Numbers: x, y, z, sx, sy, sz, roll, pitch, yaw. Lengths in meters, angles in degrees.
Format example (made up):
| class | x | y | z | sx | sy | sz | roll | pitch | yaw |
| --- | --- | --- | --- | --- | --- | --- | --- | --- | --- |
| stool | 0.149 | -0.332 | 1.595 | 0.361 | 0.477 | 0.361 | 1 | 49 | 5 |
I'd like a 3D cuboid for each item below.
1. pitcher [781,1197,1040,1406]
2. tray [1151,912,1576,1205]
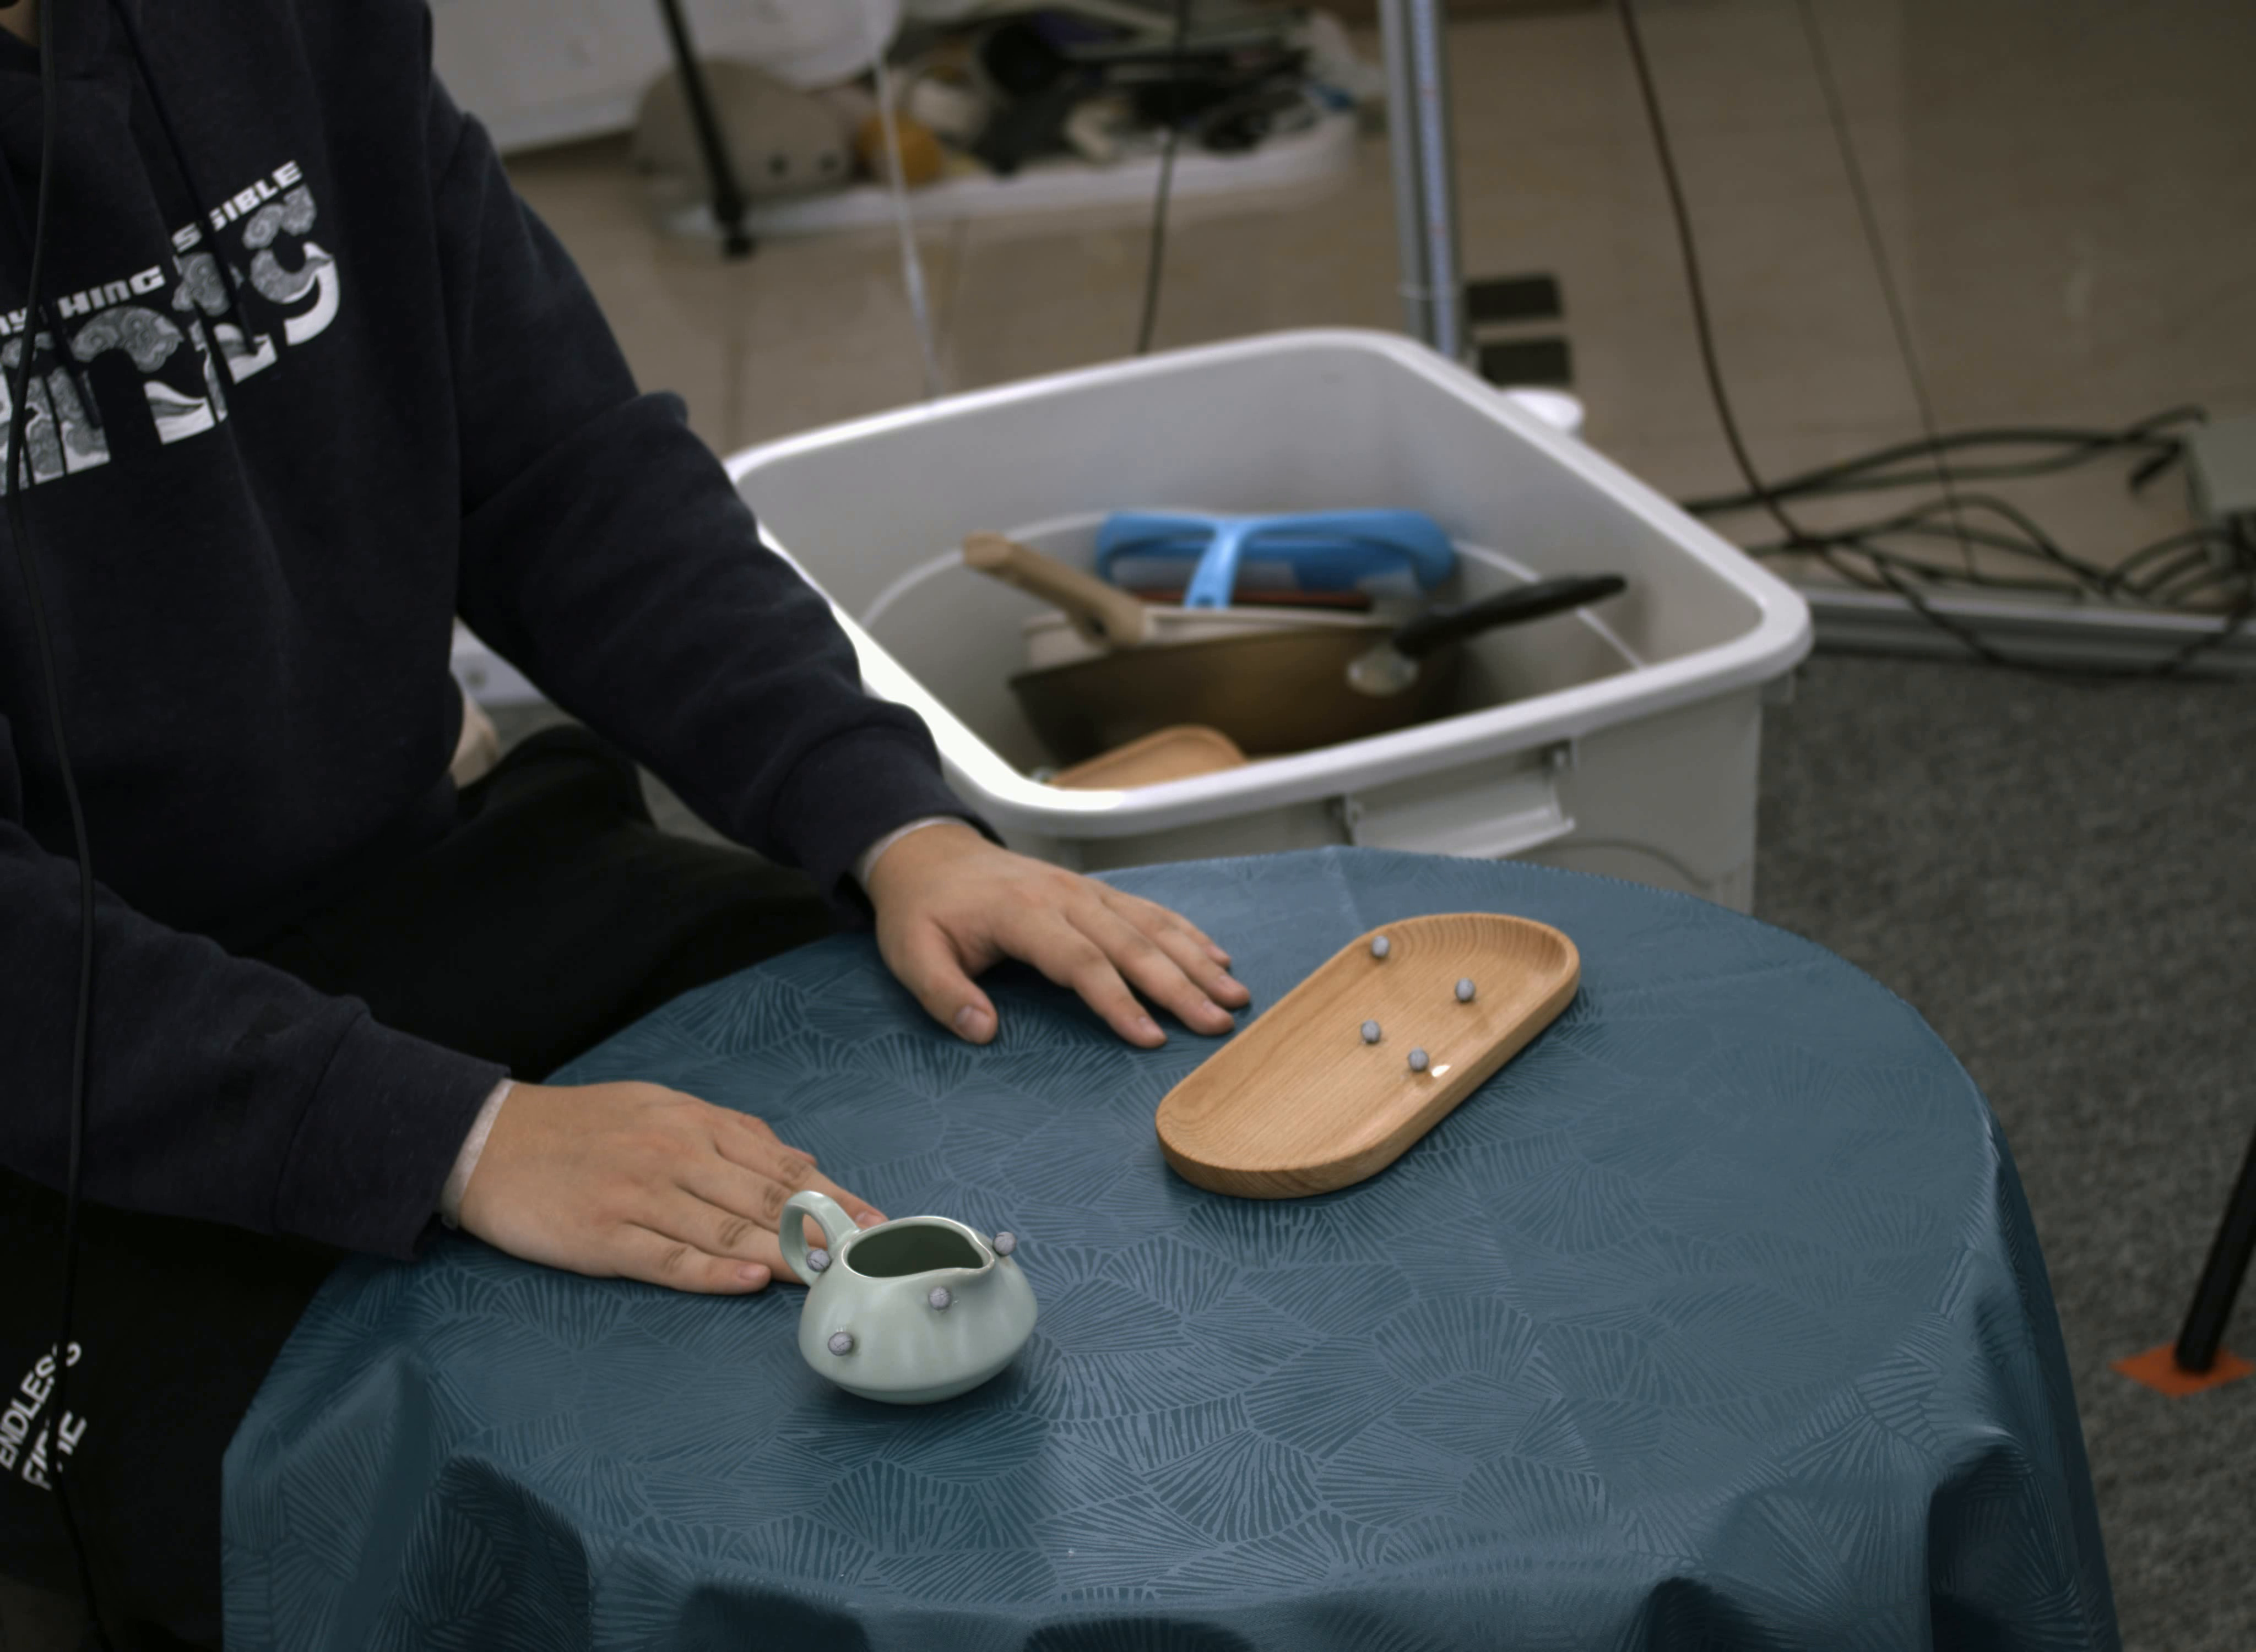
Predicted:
| class | x | y | z | sx | sy | sz | roll | pitch | yaw |
| --- | --- | --- | --- | --- | --- | --- | --- | --- | --- |
| pitcher | -0.084 | 0.169 | 2.036 | 0.107 | 0.061 | 0.085 | 13 | 30 | 40 |
| tray | 0.094 | 0.089 | 2.215 | 0.101 | 0.020 | 0.228 | 8 | 30 | 32 |
